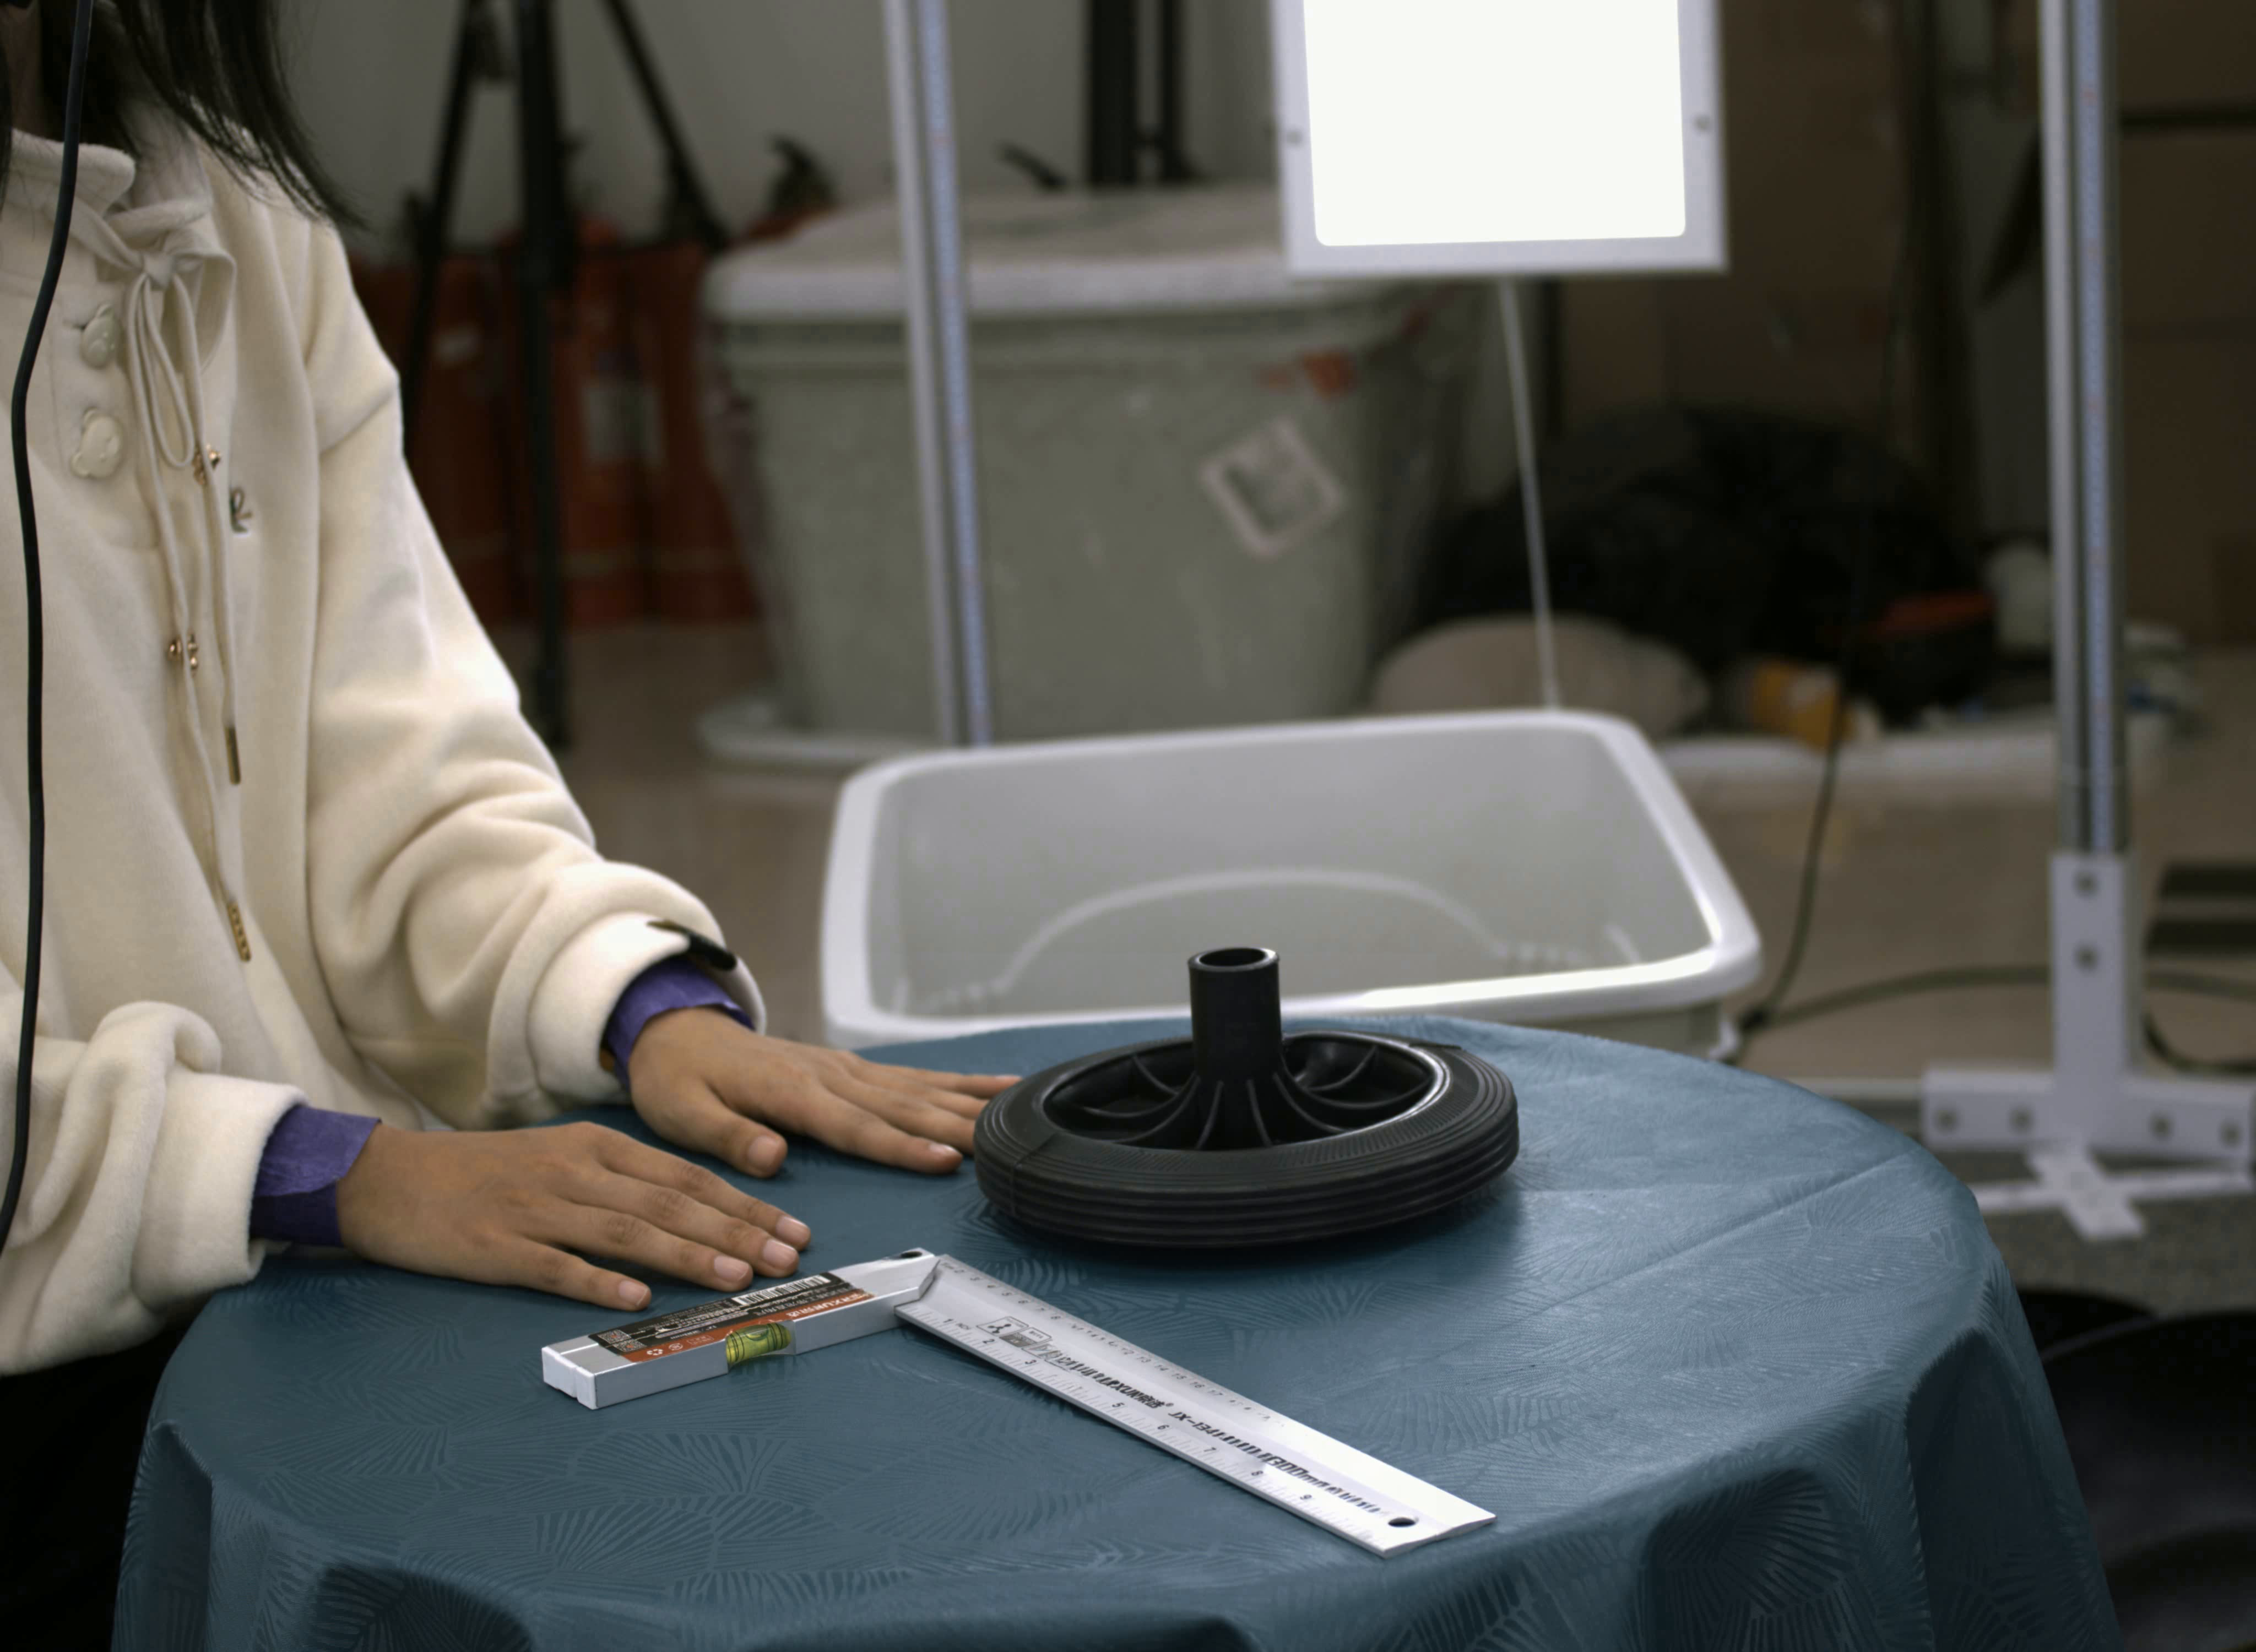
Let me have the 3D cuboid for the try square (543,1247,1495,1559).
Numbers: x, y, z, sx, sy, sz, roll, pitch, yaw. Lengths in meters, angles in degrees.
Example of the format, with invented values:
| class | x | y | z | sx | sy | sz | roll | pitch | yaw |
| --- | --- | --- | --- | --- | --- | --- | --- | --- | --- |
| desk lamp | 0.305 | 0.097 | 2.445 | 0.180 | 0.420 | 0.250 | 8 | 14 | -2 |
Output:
| class | x | y | z | sx | sy | sz | roll | pitch | yaw |
| --- | --- | --- | --- | --- | --- | --- | --- | --- | --- |
| try square | -0.041 | 0.186 | 1.664 | 0.149 | 0.016 | 0.319 | -16 | 18 | -28 |

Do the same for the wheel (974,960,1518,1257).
| class | x | y | z | sx | sy | sz | roll | pitch | yaw |
| --- | --- | --- | --- | --- | --- | --- | --- | --- | --- |
| wheel | 0.039 | 0.088 | 1.883 | 0.188 | 0.079 | 0.188 | -3 | 14 | 6 |
